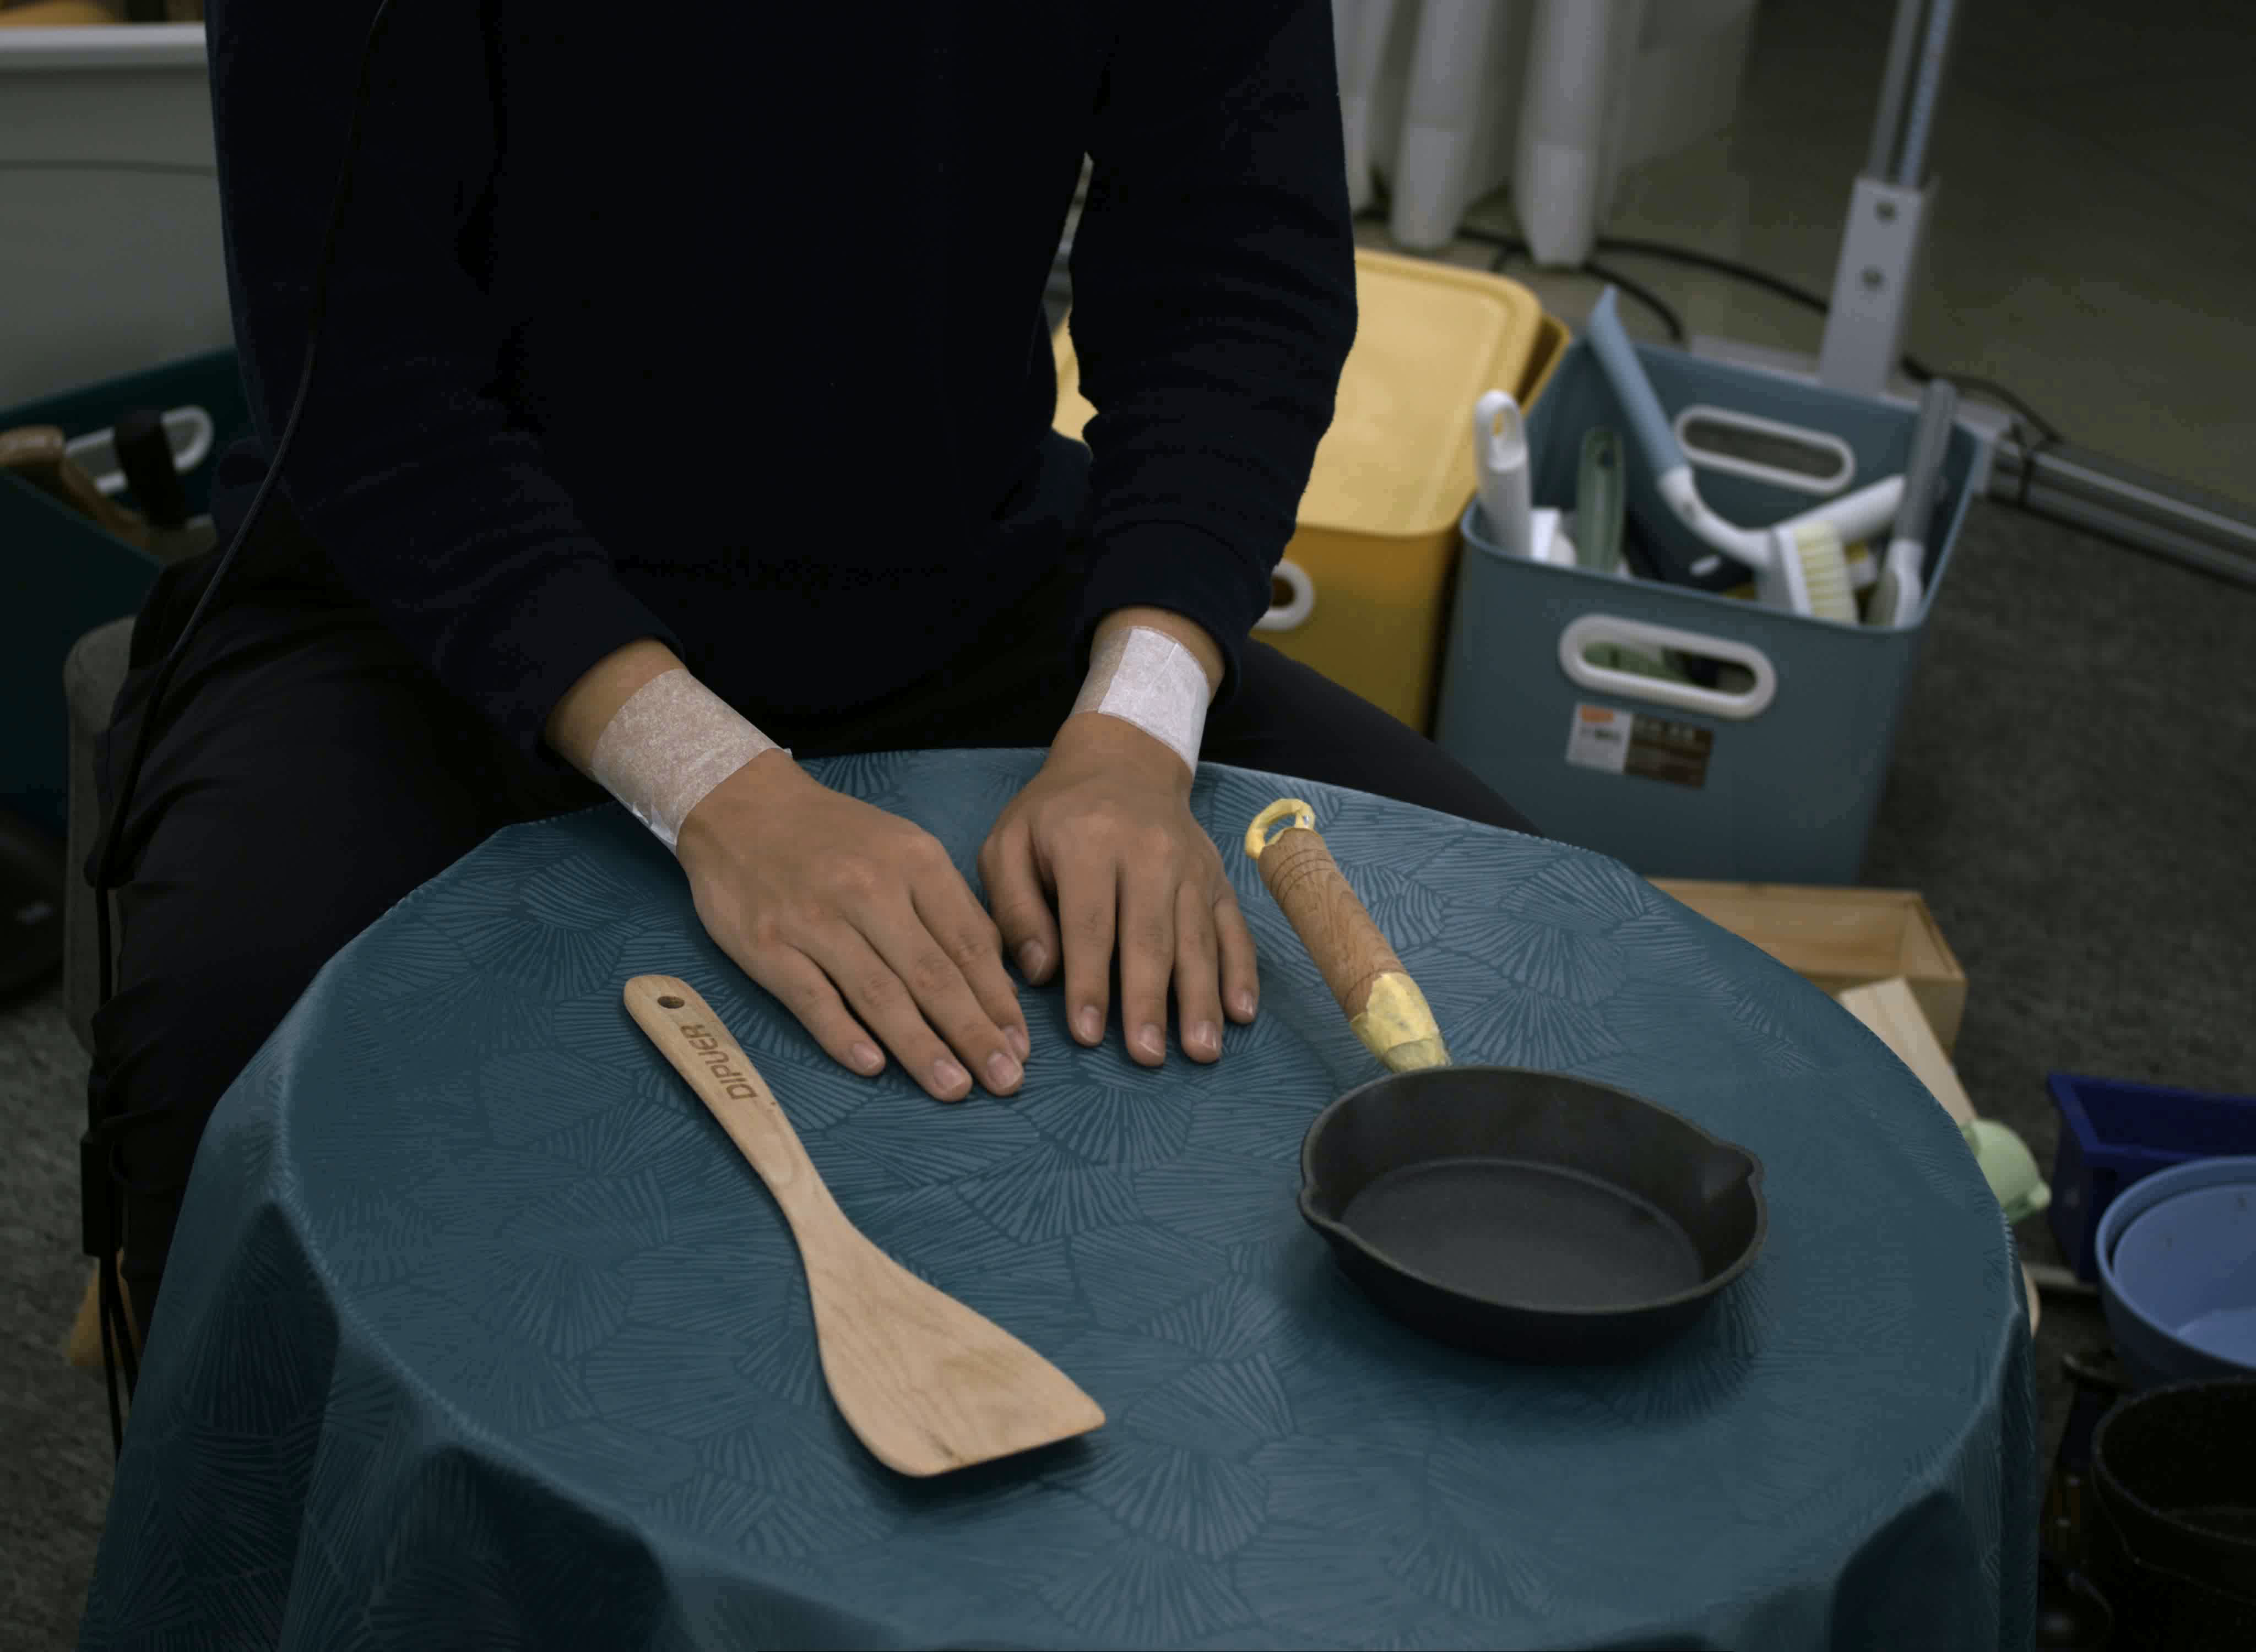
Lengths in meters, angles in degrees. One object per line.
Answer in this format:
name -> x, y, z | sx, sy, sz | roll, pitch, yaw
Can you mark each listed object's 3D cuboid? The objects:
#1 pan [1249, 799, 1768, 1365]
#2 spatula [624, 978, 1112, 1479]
pan -> 0.107, 0.086, 1.845 | 0.168, 0.049, 0.327 | -4, 30, -19
spatula -> -0.101, 0.126, 1.757 | 0.079, 0.016, 0.330 | -6, 29, -25
